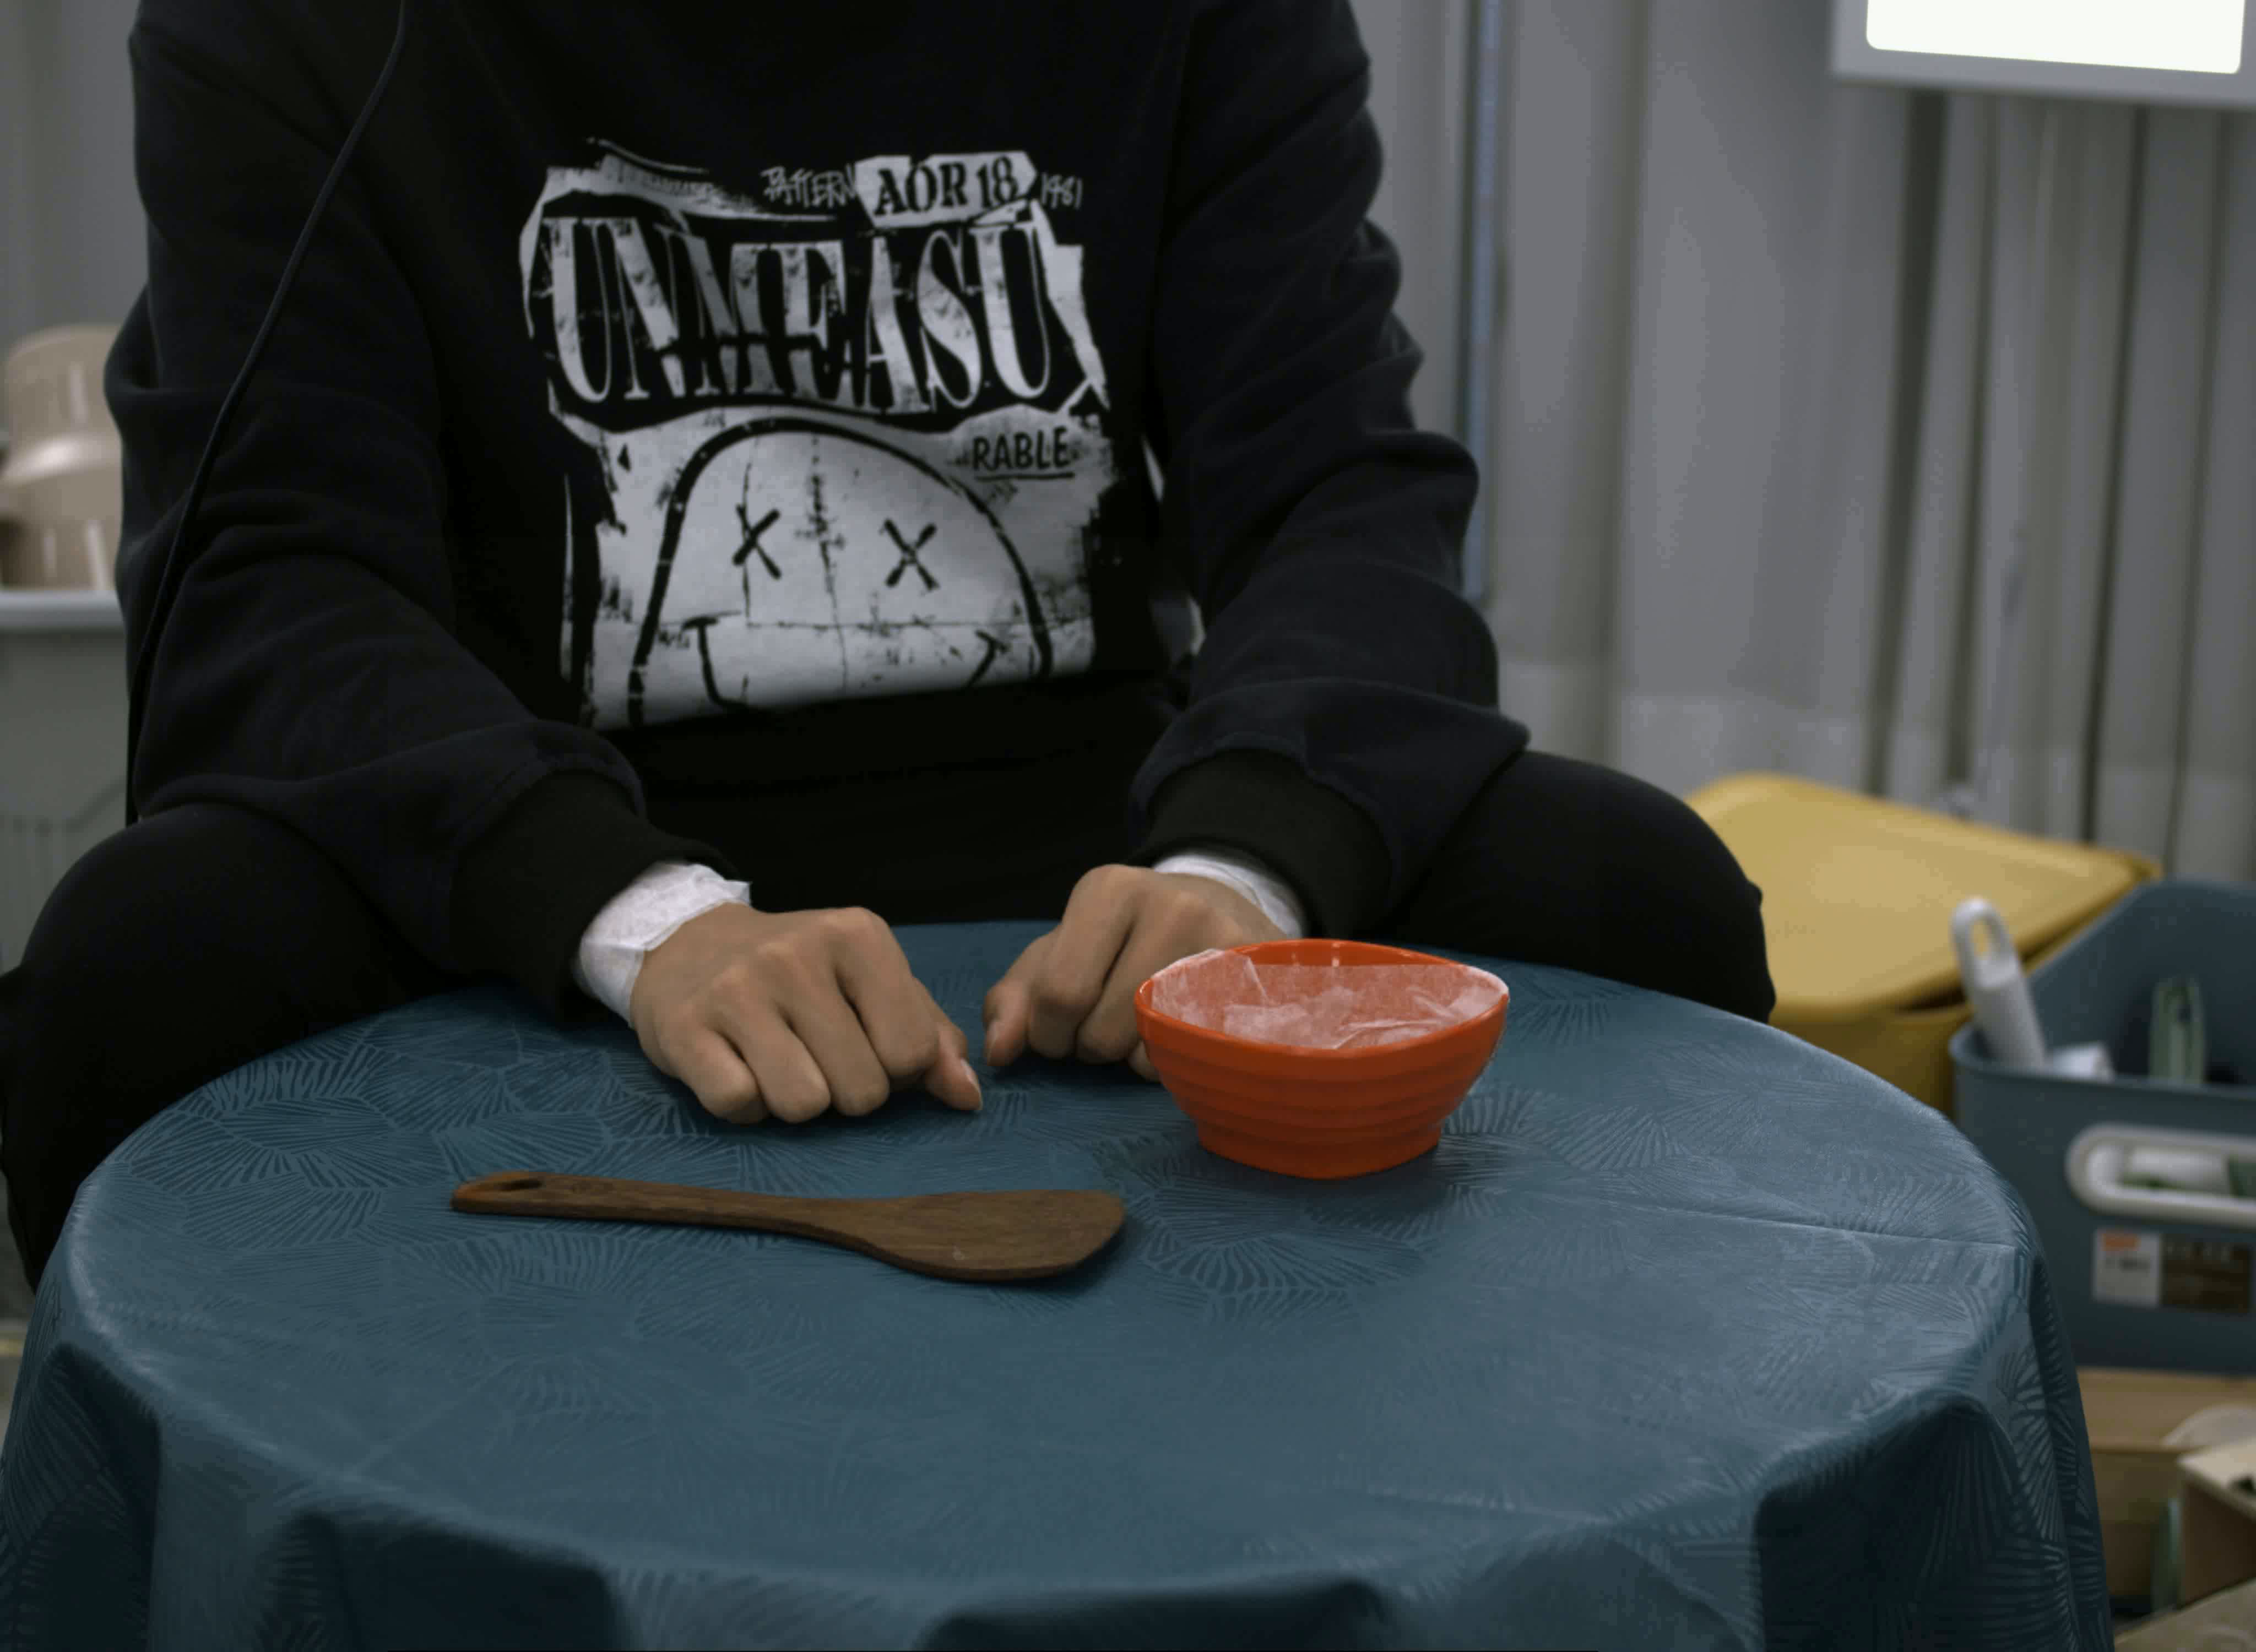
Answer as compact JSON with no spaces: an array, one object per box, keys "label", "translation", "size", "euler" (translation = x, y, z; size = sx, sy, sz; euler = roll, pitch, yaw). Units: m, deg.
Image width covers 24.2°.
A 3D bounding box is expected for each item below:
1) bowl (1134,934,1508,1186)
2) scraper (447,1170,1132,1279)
[{"label":"bowl","translation":[0.061,0.076,1.666],"size":[0.118,0.052,0.118],"euler":[0,18,0]},{"label":"scraper","translation":[-0.104,0.117,1.591],"size":[0.210,0.011,0.076],"euler":[4,15,13]}]
